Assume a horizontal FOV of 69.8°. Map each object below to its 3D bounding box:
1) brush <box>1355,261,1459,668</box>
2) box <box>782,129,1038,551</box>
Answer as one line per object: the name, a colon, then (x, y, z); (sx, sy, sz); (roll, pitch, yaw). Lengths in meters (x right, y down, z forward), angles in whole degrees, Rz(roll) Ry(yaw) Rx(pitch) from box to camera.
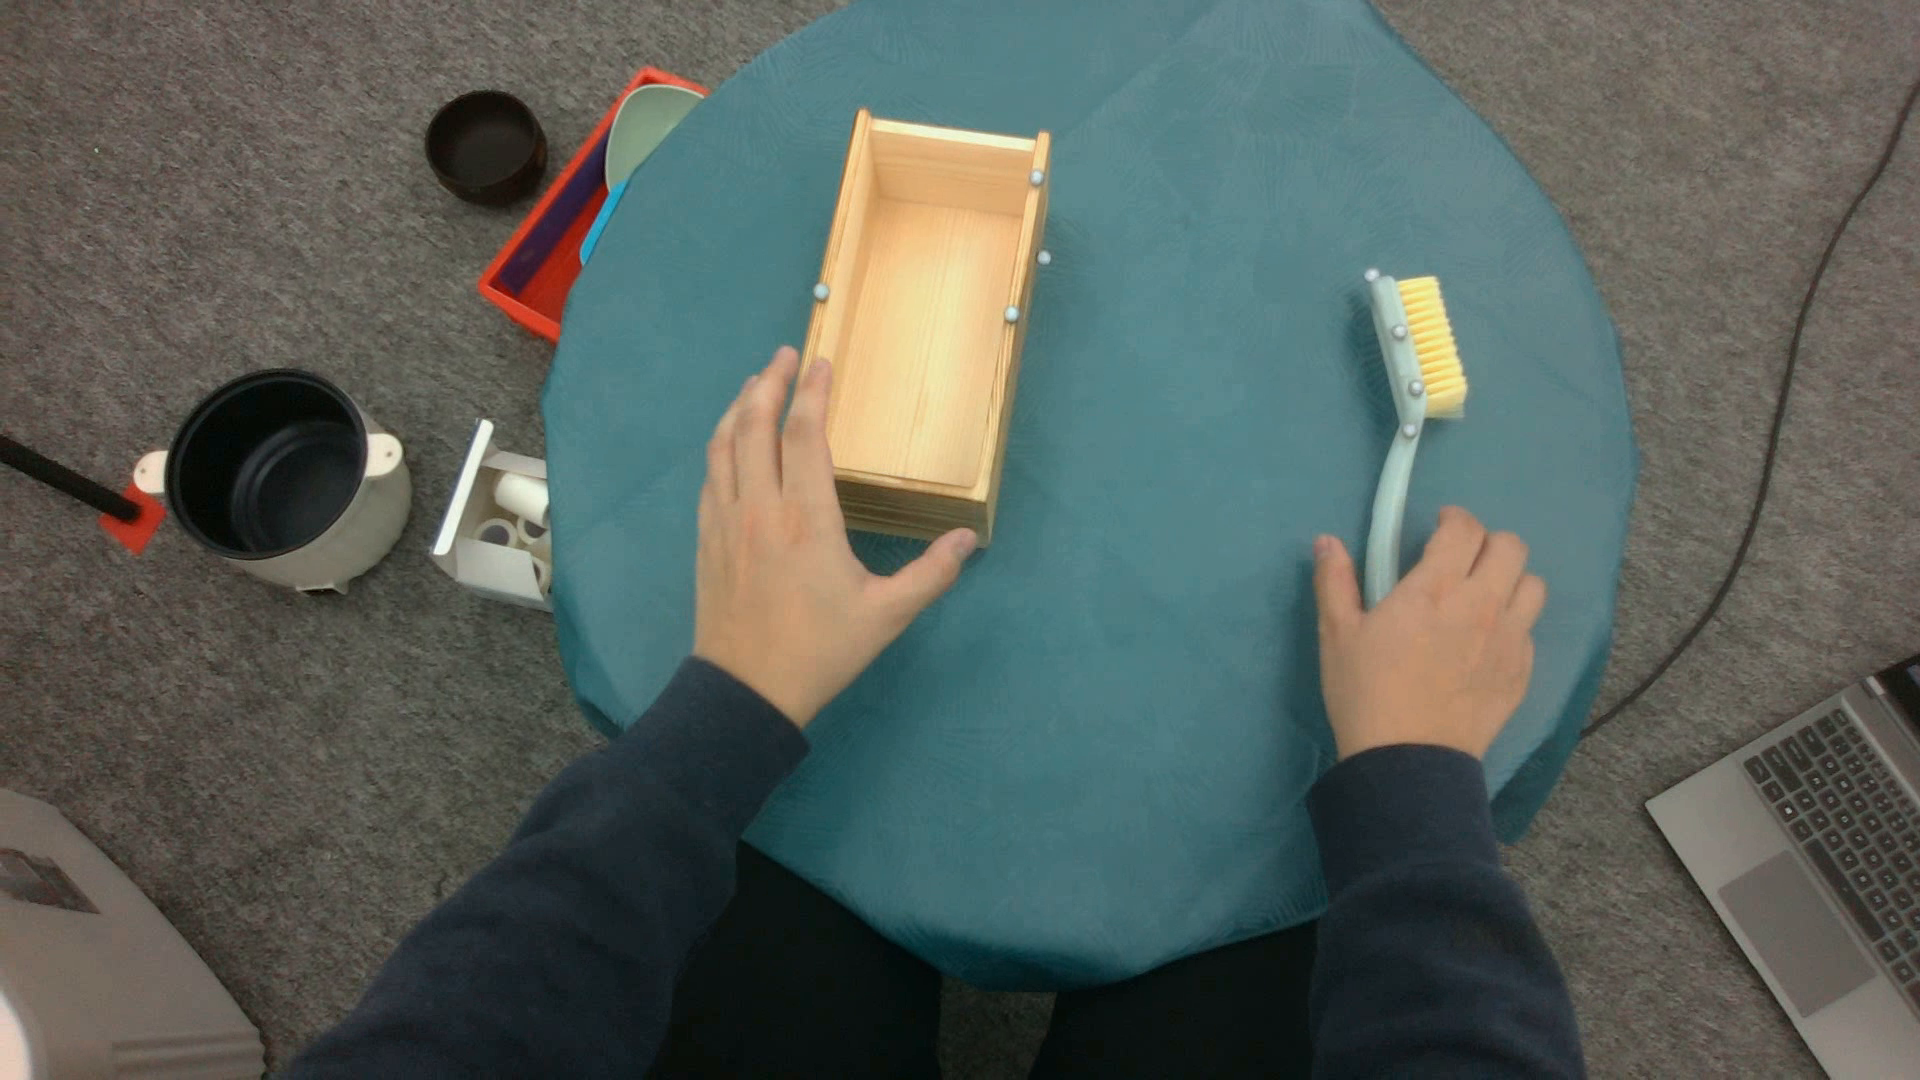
brush: (0.243, -0.045, 0.735); (0.049, 0.038, 0.229); (-2, 72, 12)
box: (-0.022, -0.109, 0.751); (0.107, 0.080, 0.212); (5, 72, 6)
